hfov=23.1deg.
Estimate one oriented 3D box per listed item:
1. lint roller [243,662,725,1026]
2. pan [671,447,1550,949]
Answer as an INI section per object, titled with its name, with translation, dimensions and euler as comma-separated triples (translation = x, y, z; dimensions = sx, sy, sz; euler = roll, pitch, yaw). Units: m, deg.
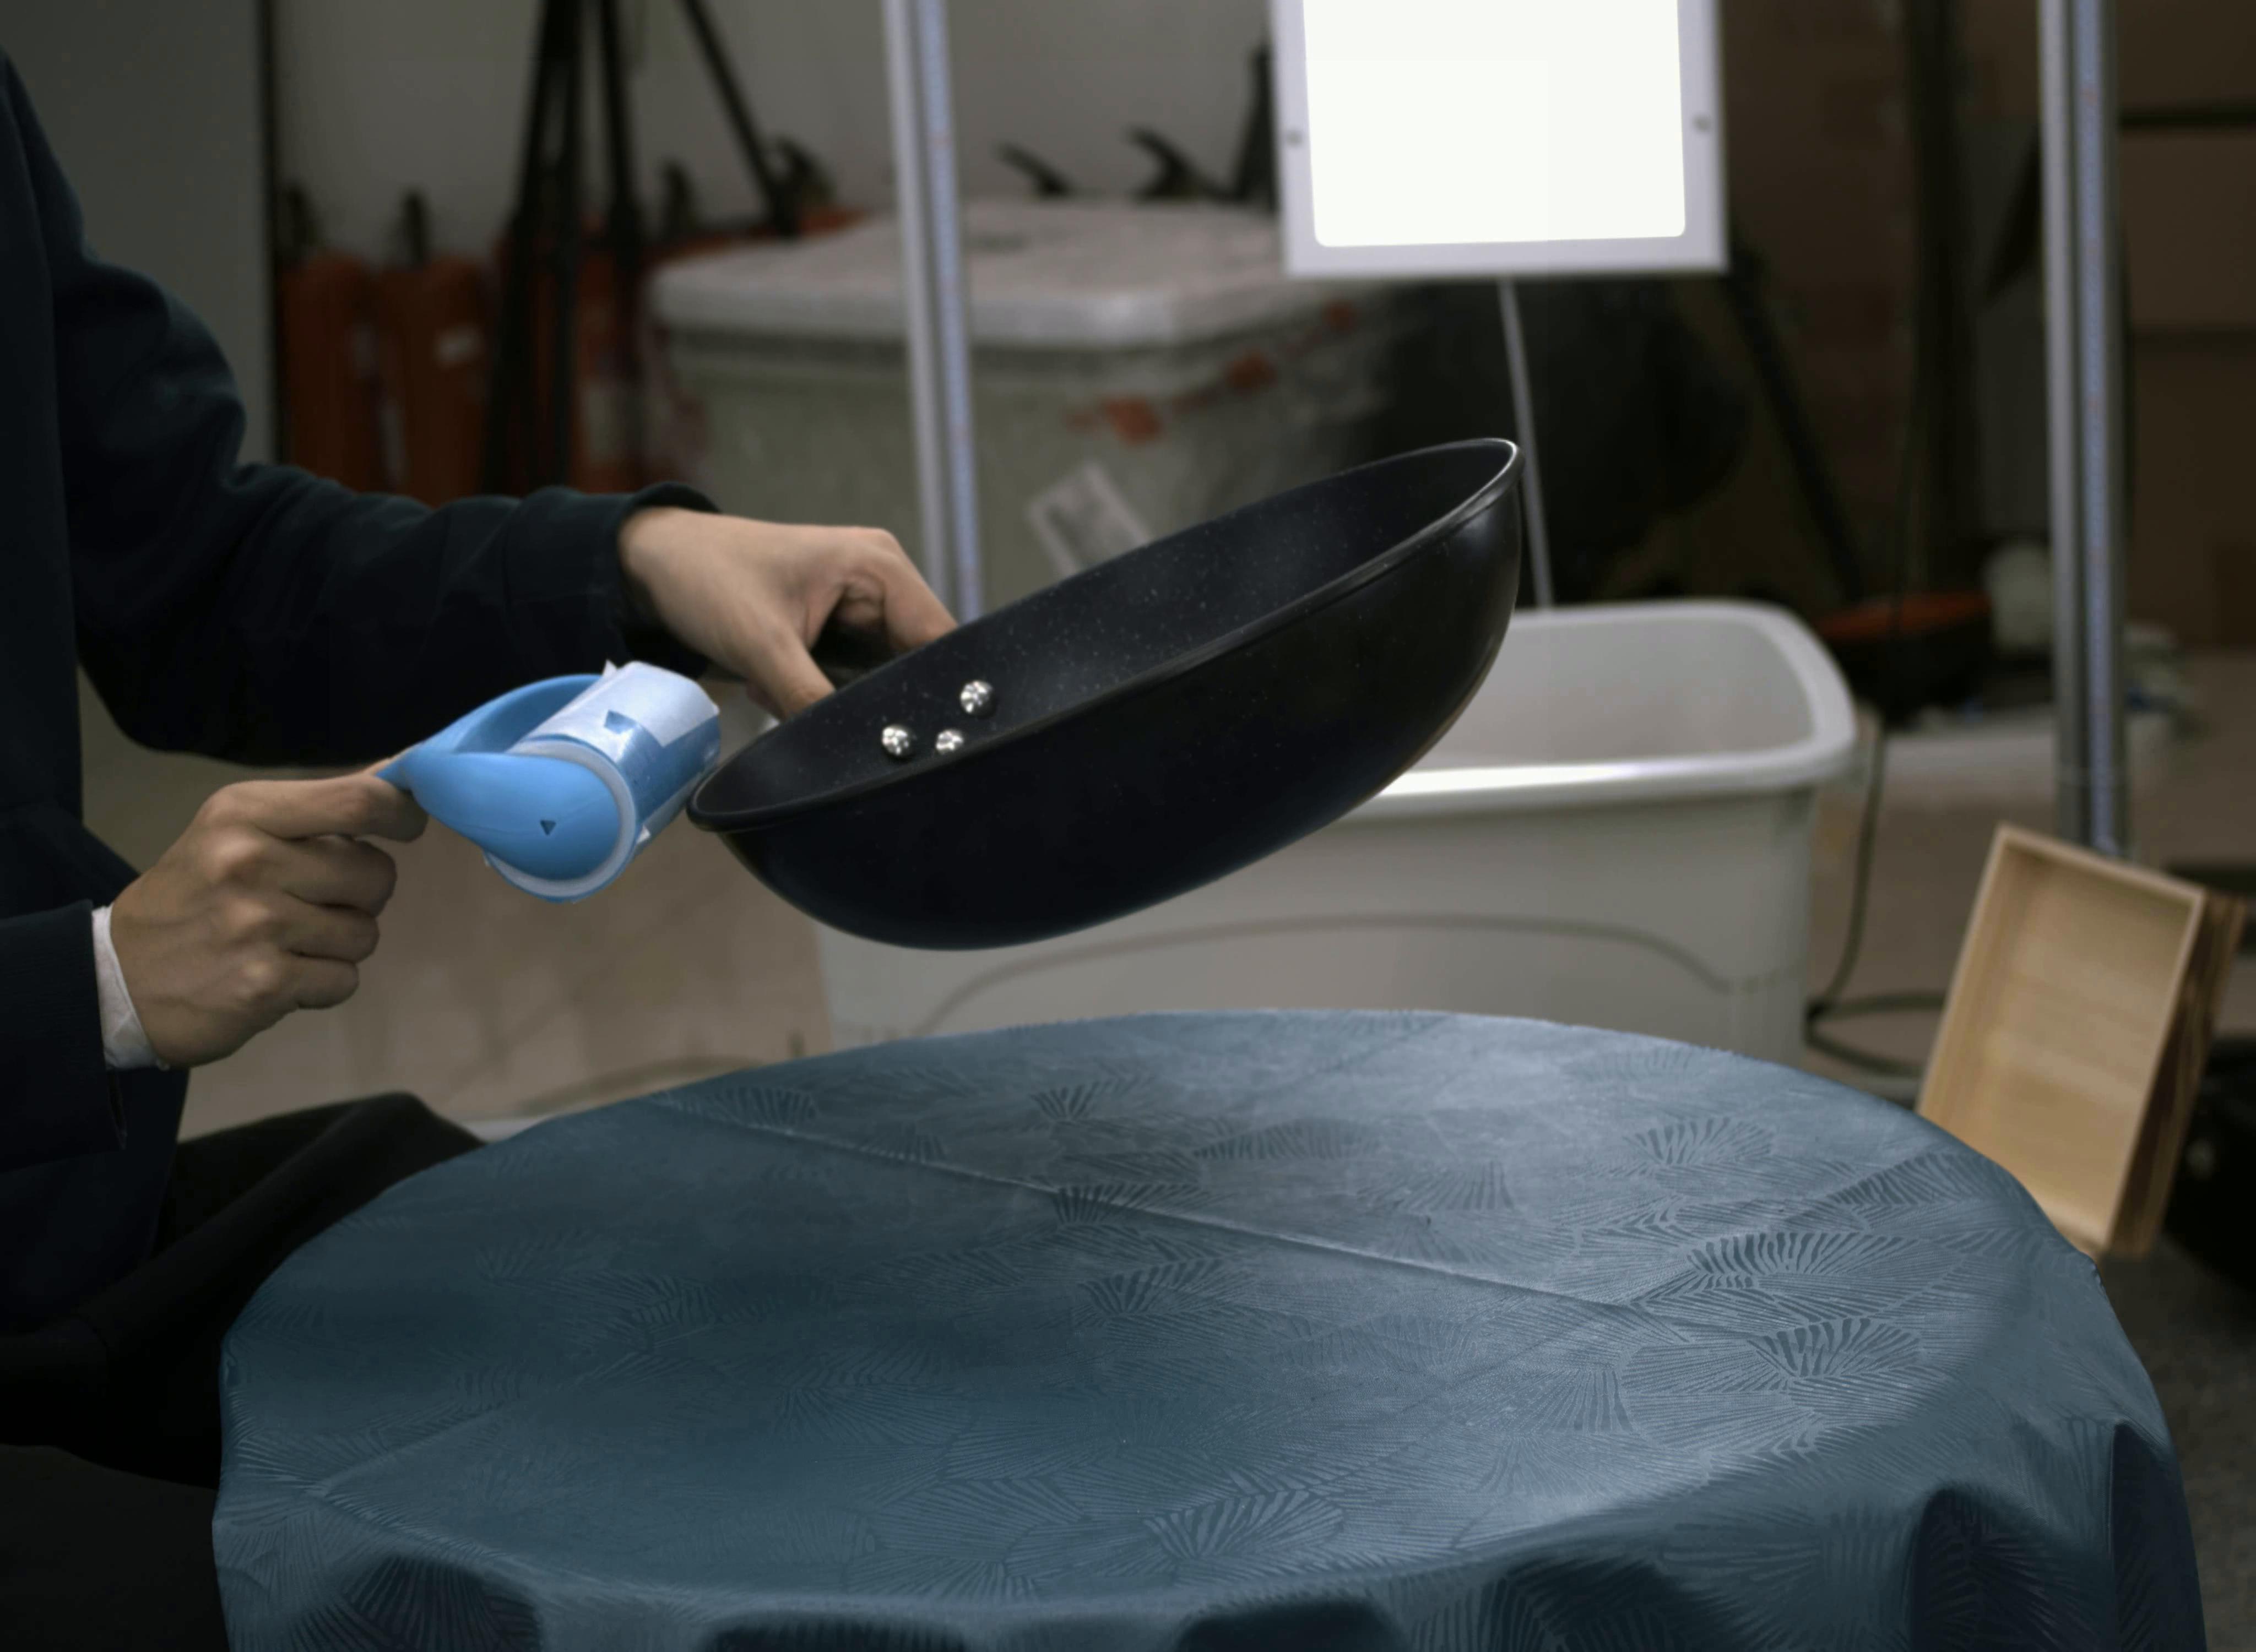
[lint roller]
translation = -0.228, 0.004, 1.864
dimensions = 0.181, 0.068, 0.228
euler = -23, 8, 5
[pan]
translation = -0.034, -0.036, 1.933
dimensions = 0.304, 0.112, 0.486
euler = -27, 9, -27
